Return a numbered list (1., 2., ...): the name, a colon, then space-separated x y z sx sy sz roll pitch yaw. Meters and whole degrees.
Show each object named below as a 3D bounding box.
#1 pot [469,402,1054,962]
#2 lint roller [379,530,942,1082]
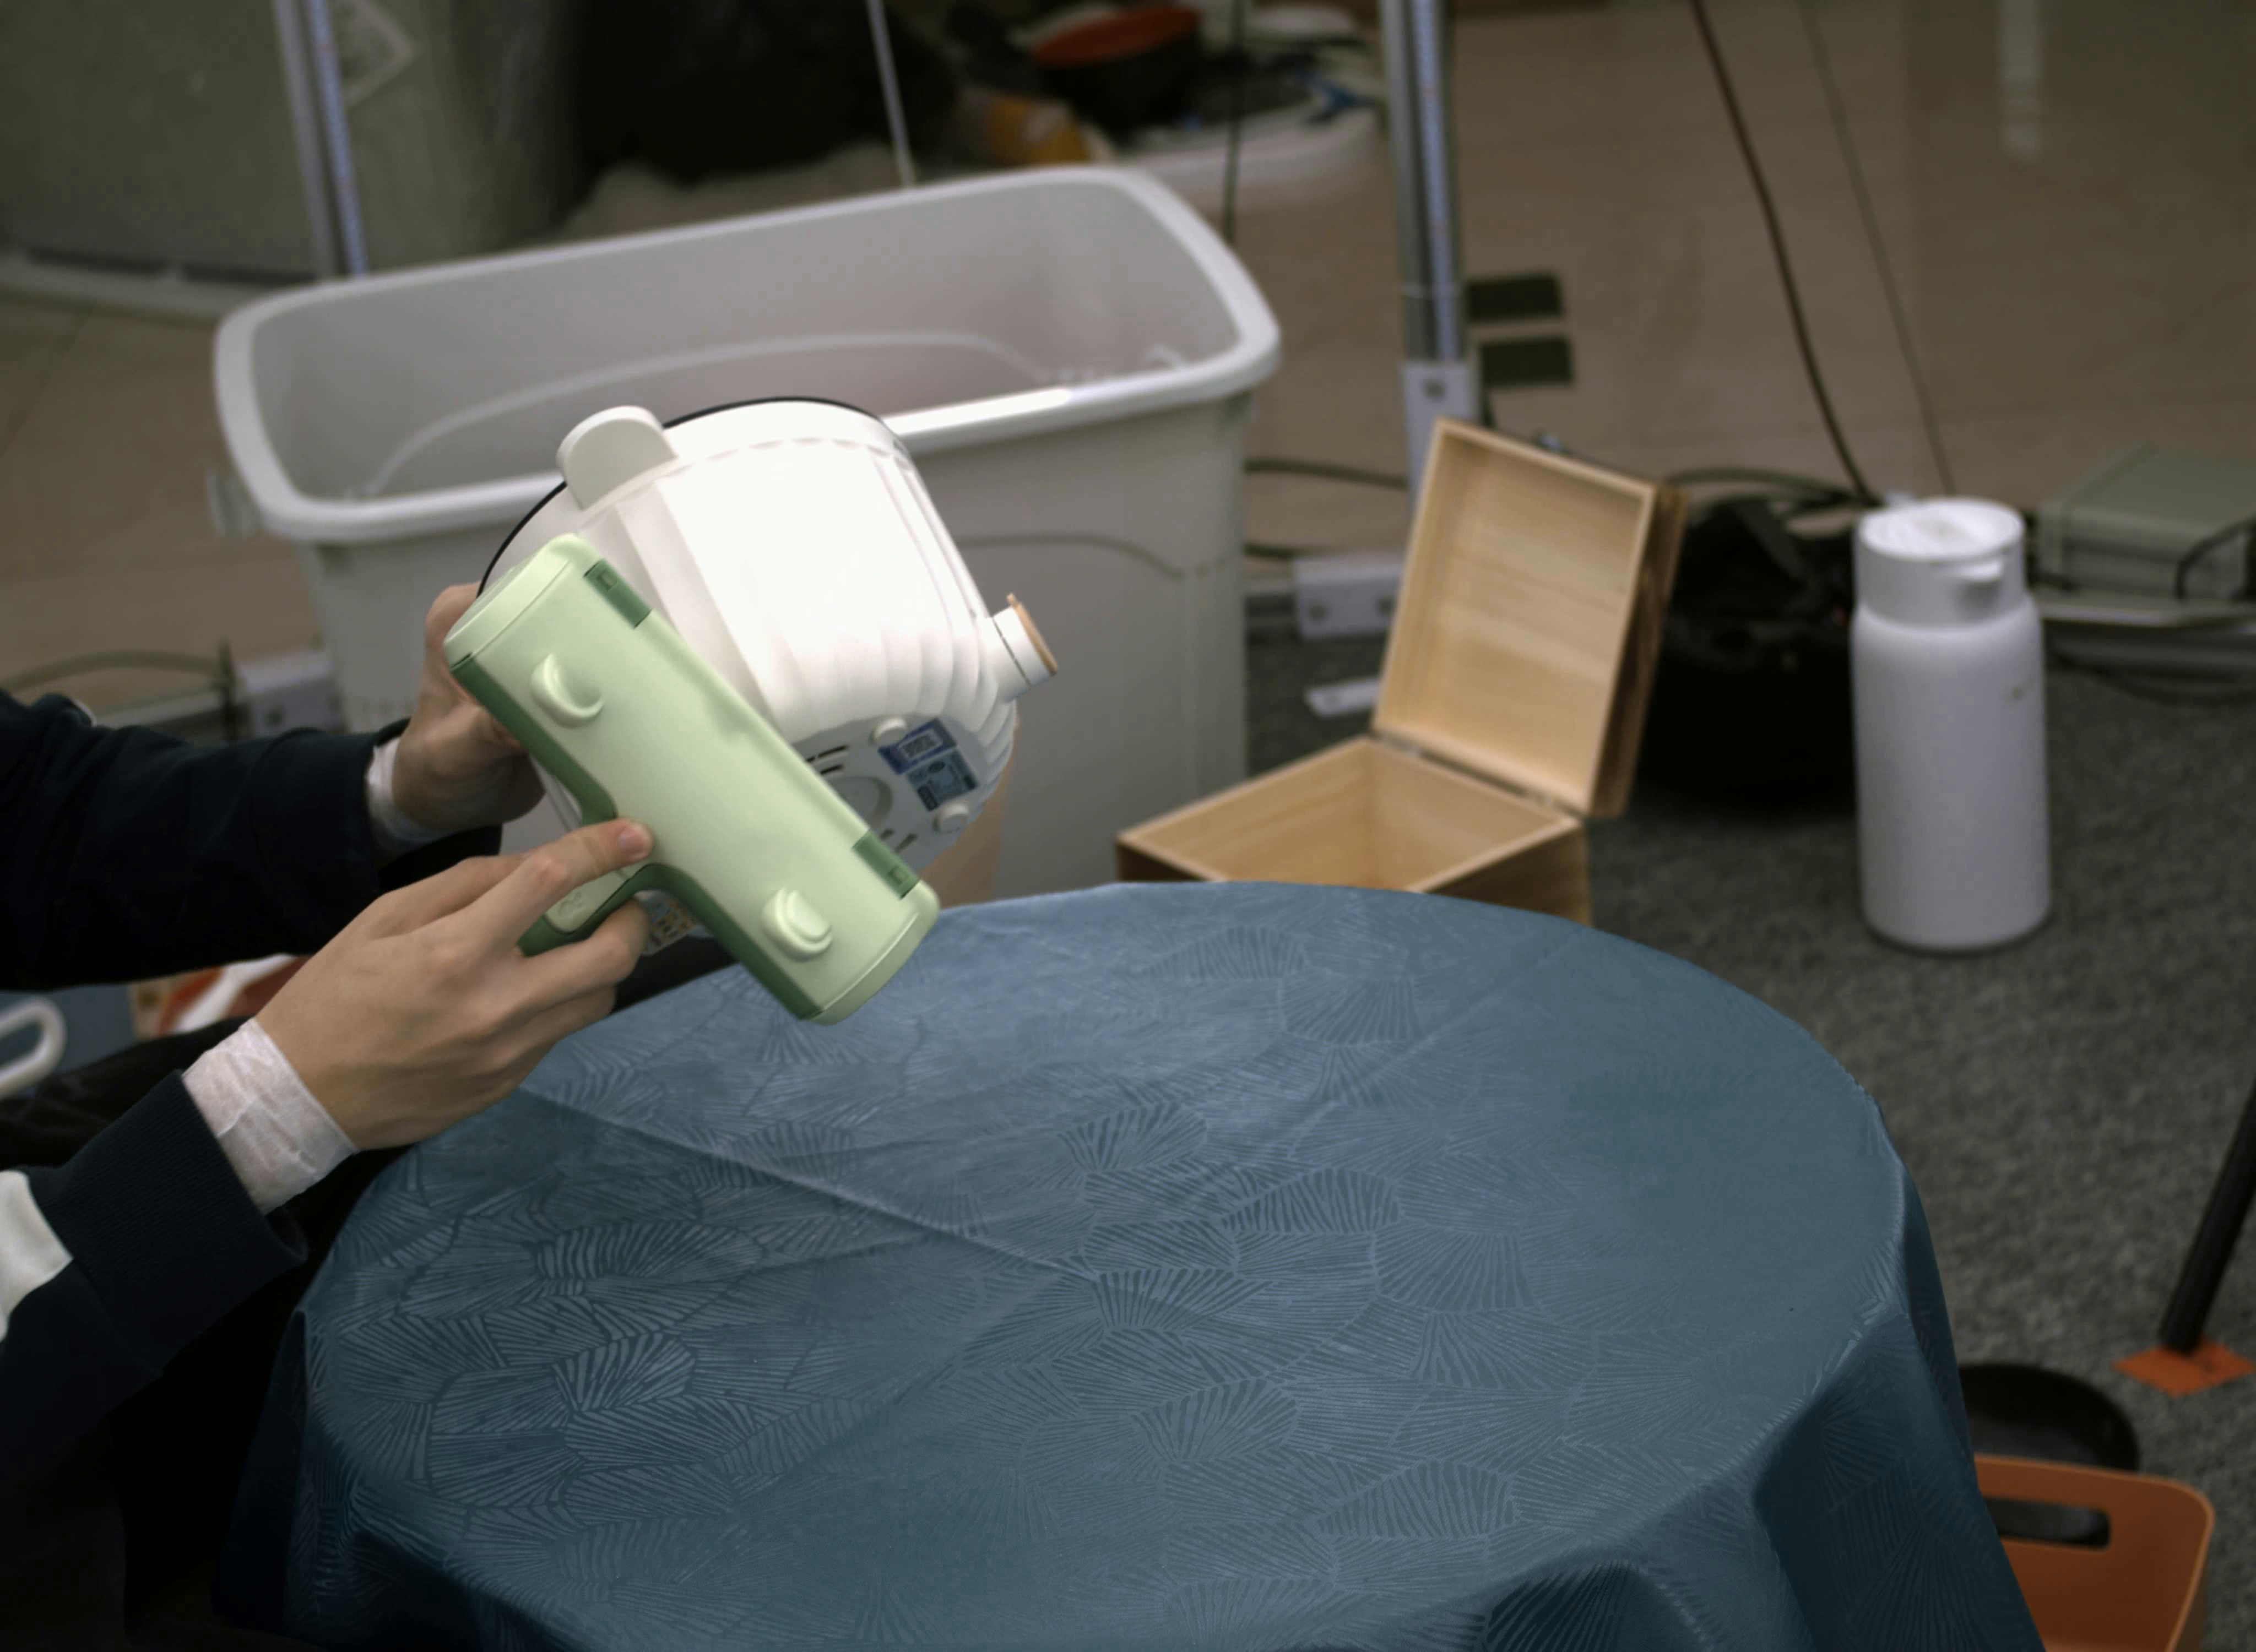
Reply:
1. pot: -0.134 -0.050 2.114 0.190 0.243 0.141 -32 63 1
2. lint roller: -0.192 0.025 1.989 0.183 0.200 0.082 -45 12 -5
